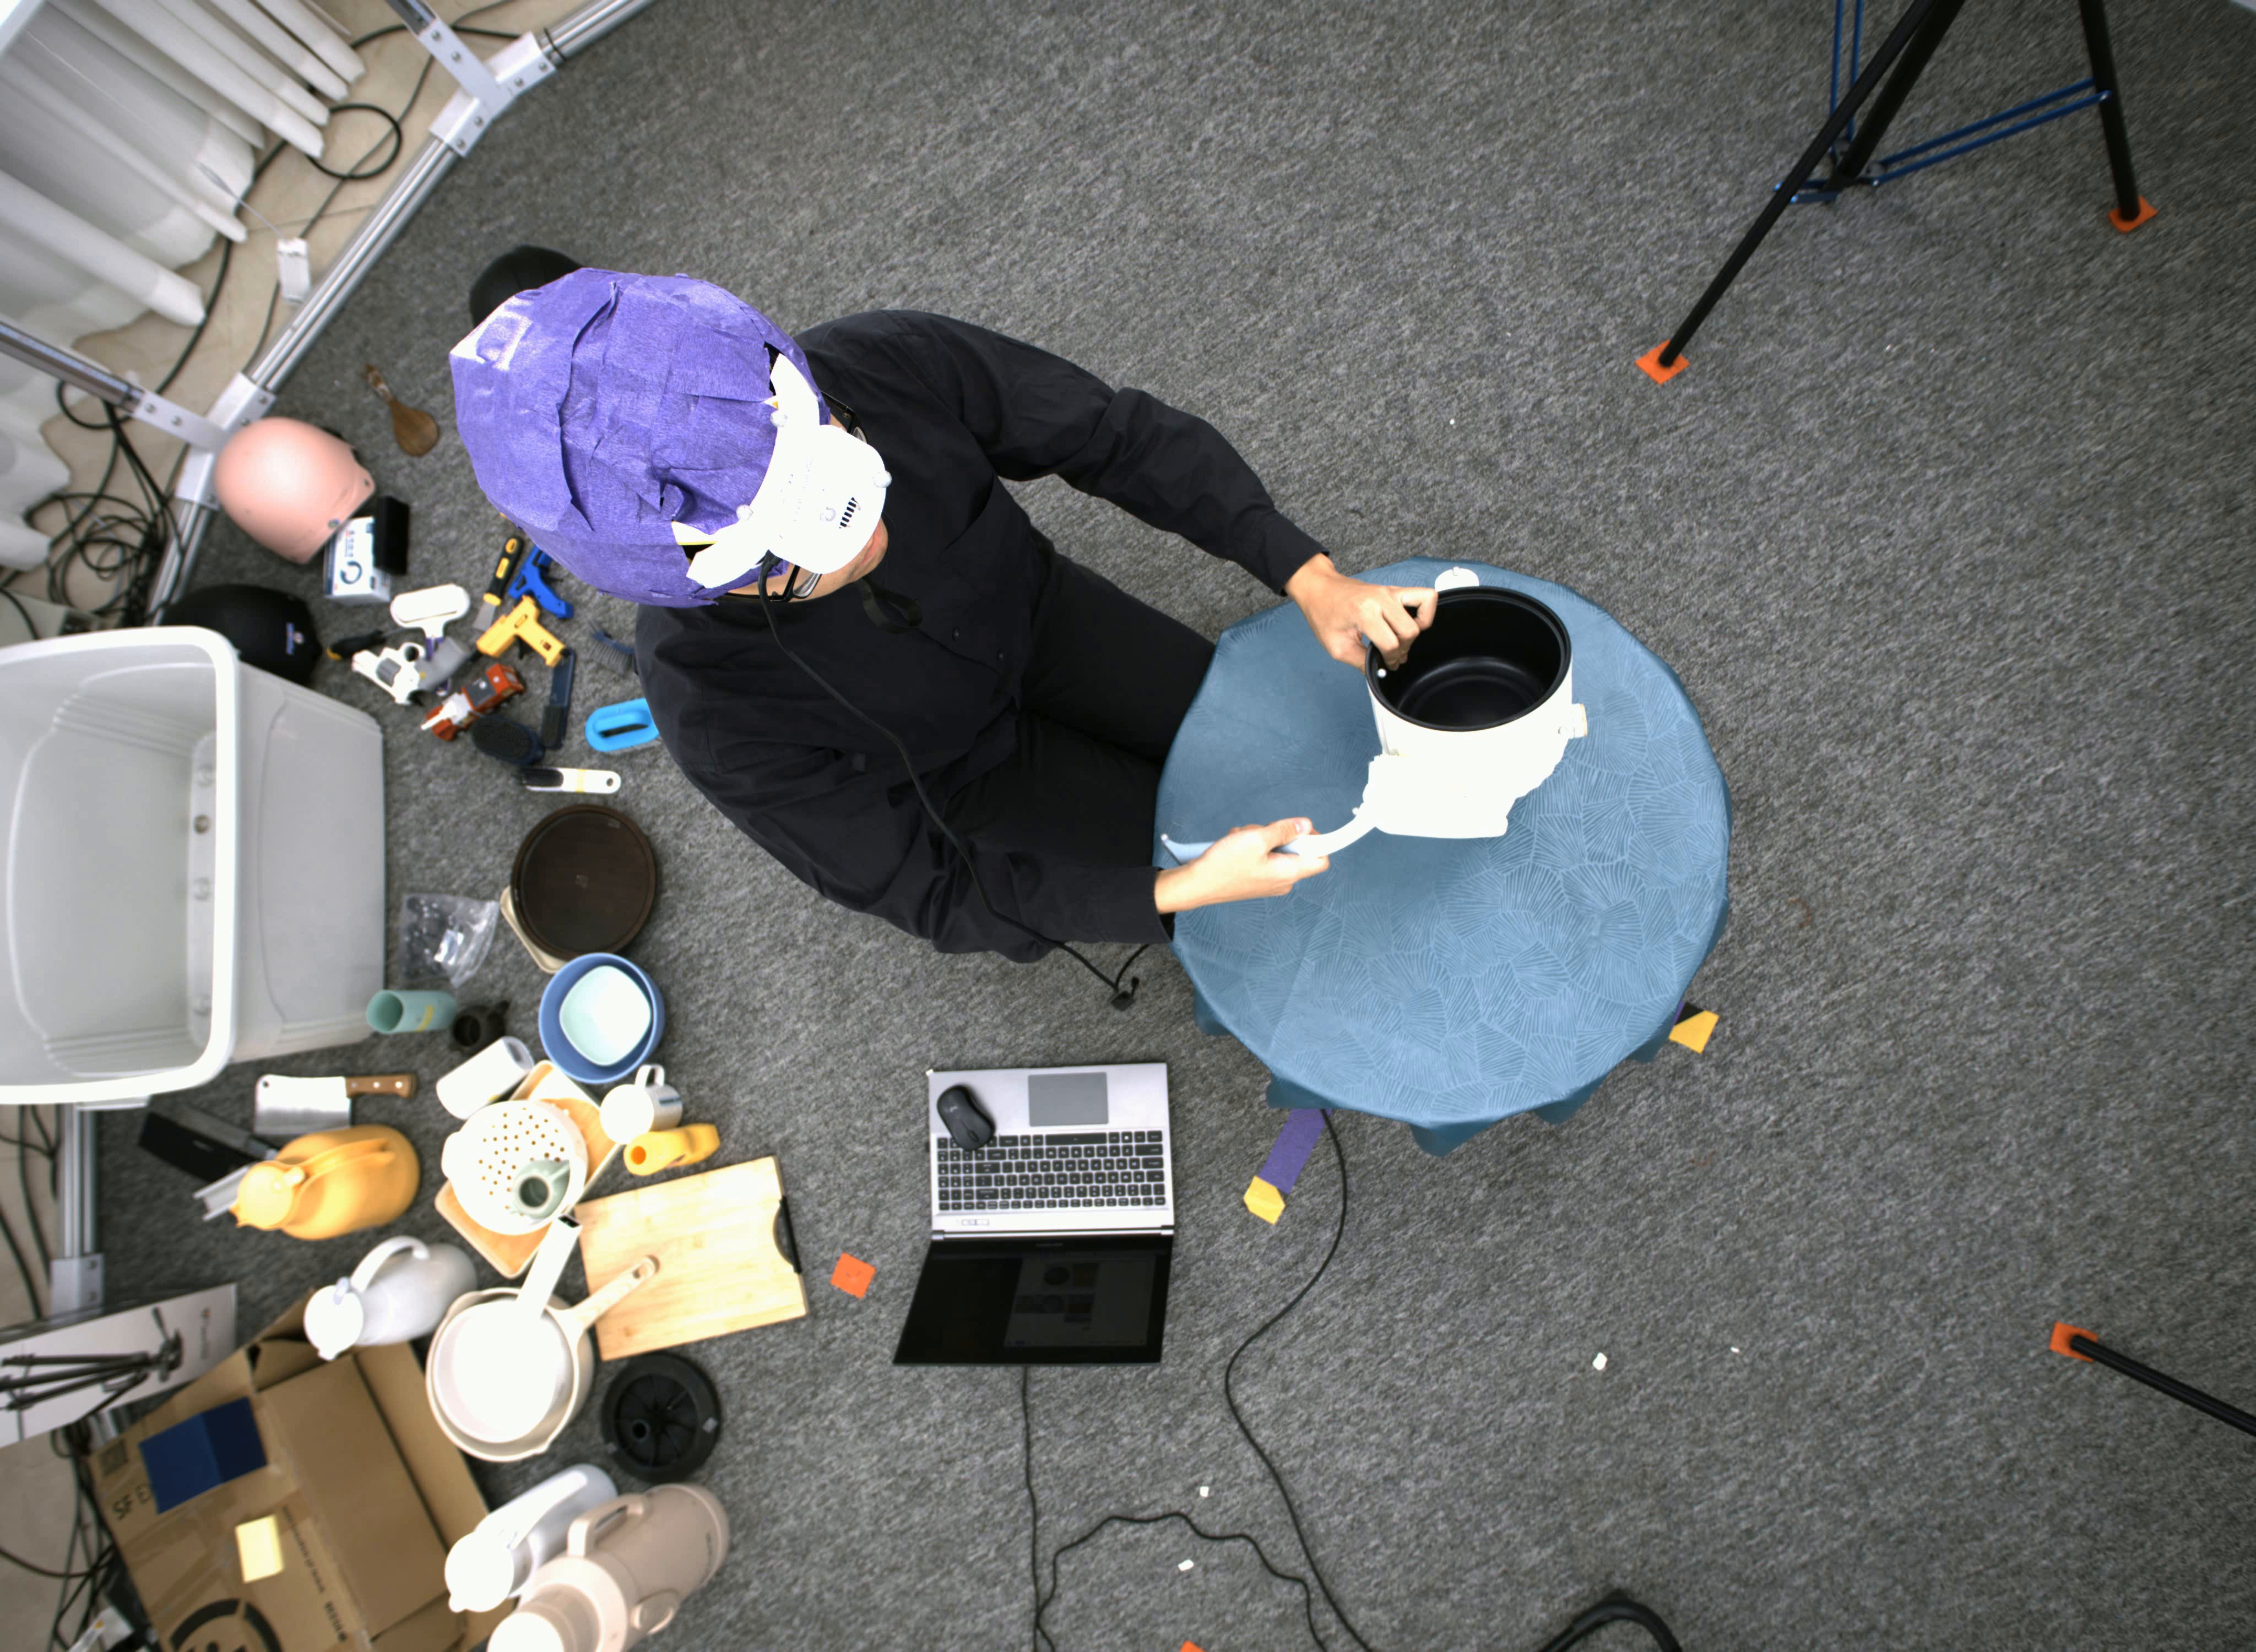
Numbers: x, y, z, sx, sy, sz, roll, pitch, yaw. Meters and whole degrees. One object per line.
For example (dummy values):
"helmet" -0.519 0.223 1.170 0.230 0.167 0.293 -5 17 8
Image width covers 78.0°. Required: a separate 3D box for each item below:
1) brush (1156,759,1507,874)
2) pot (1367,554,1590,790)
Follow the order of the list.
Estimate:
"brush" 0.181 -0.016 1.263 0.328 0.083 0.084 -6 107 22
"pot" 0.327 -0.131 1.269 0.192 0.145 0.234 -9 52 15
